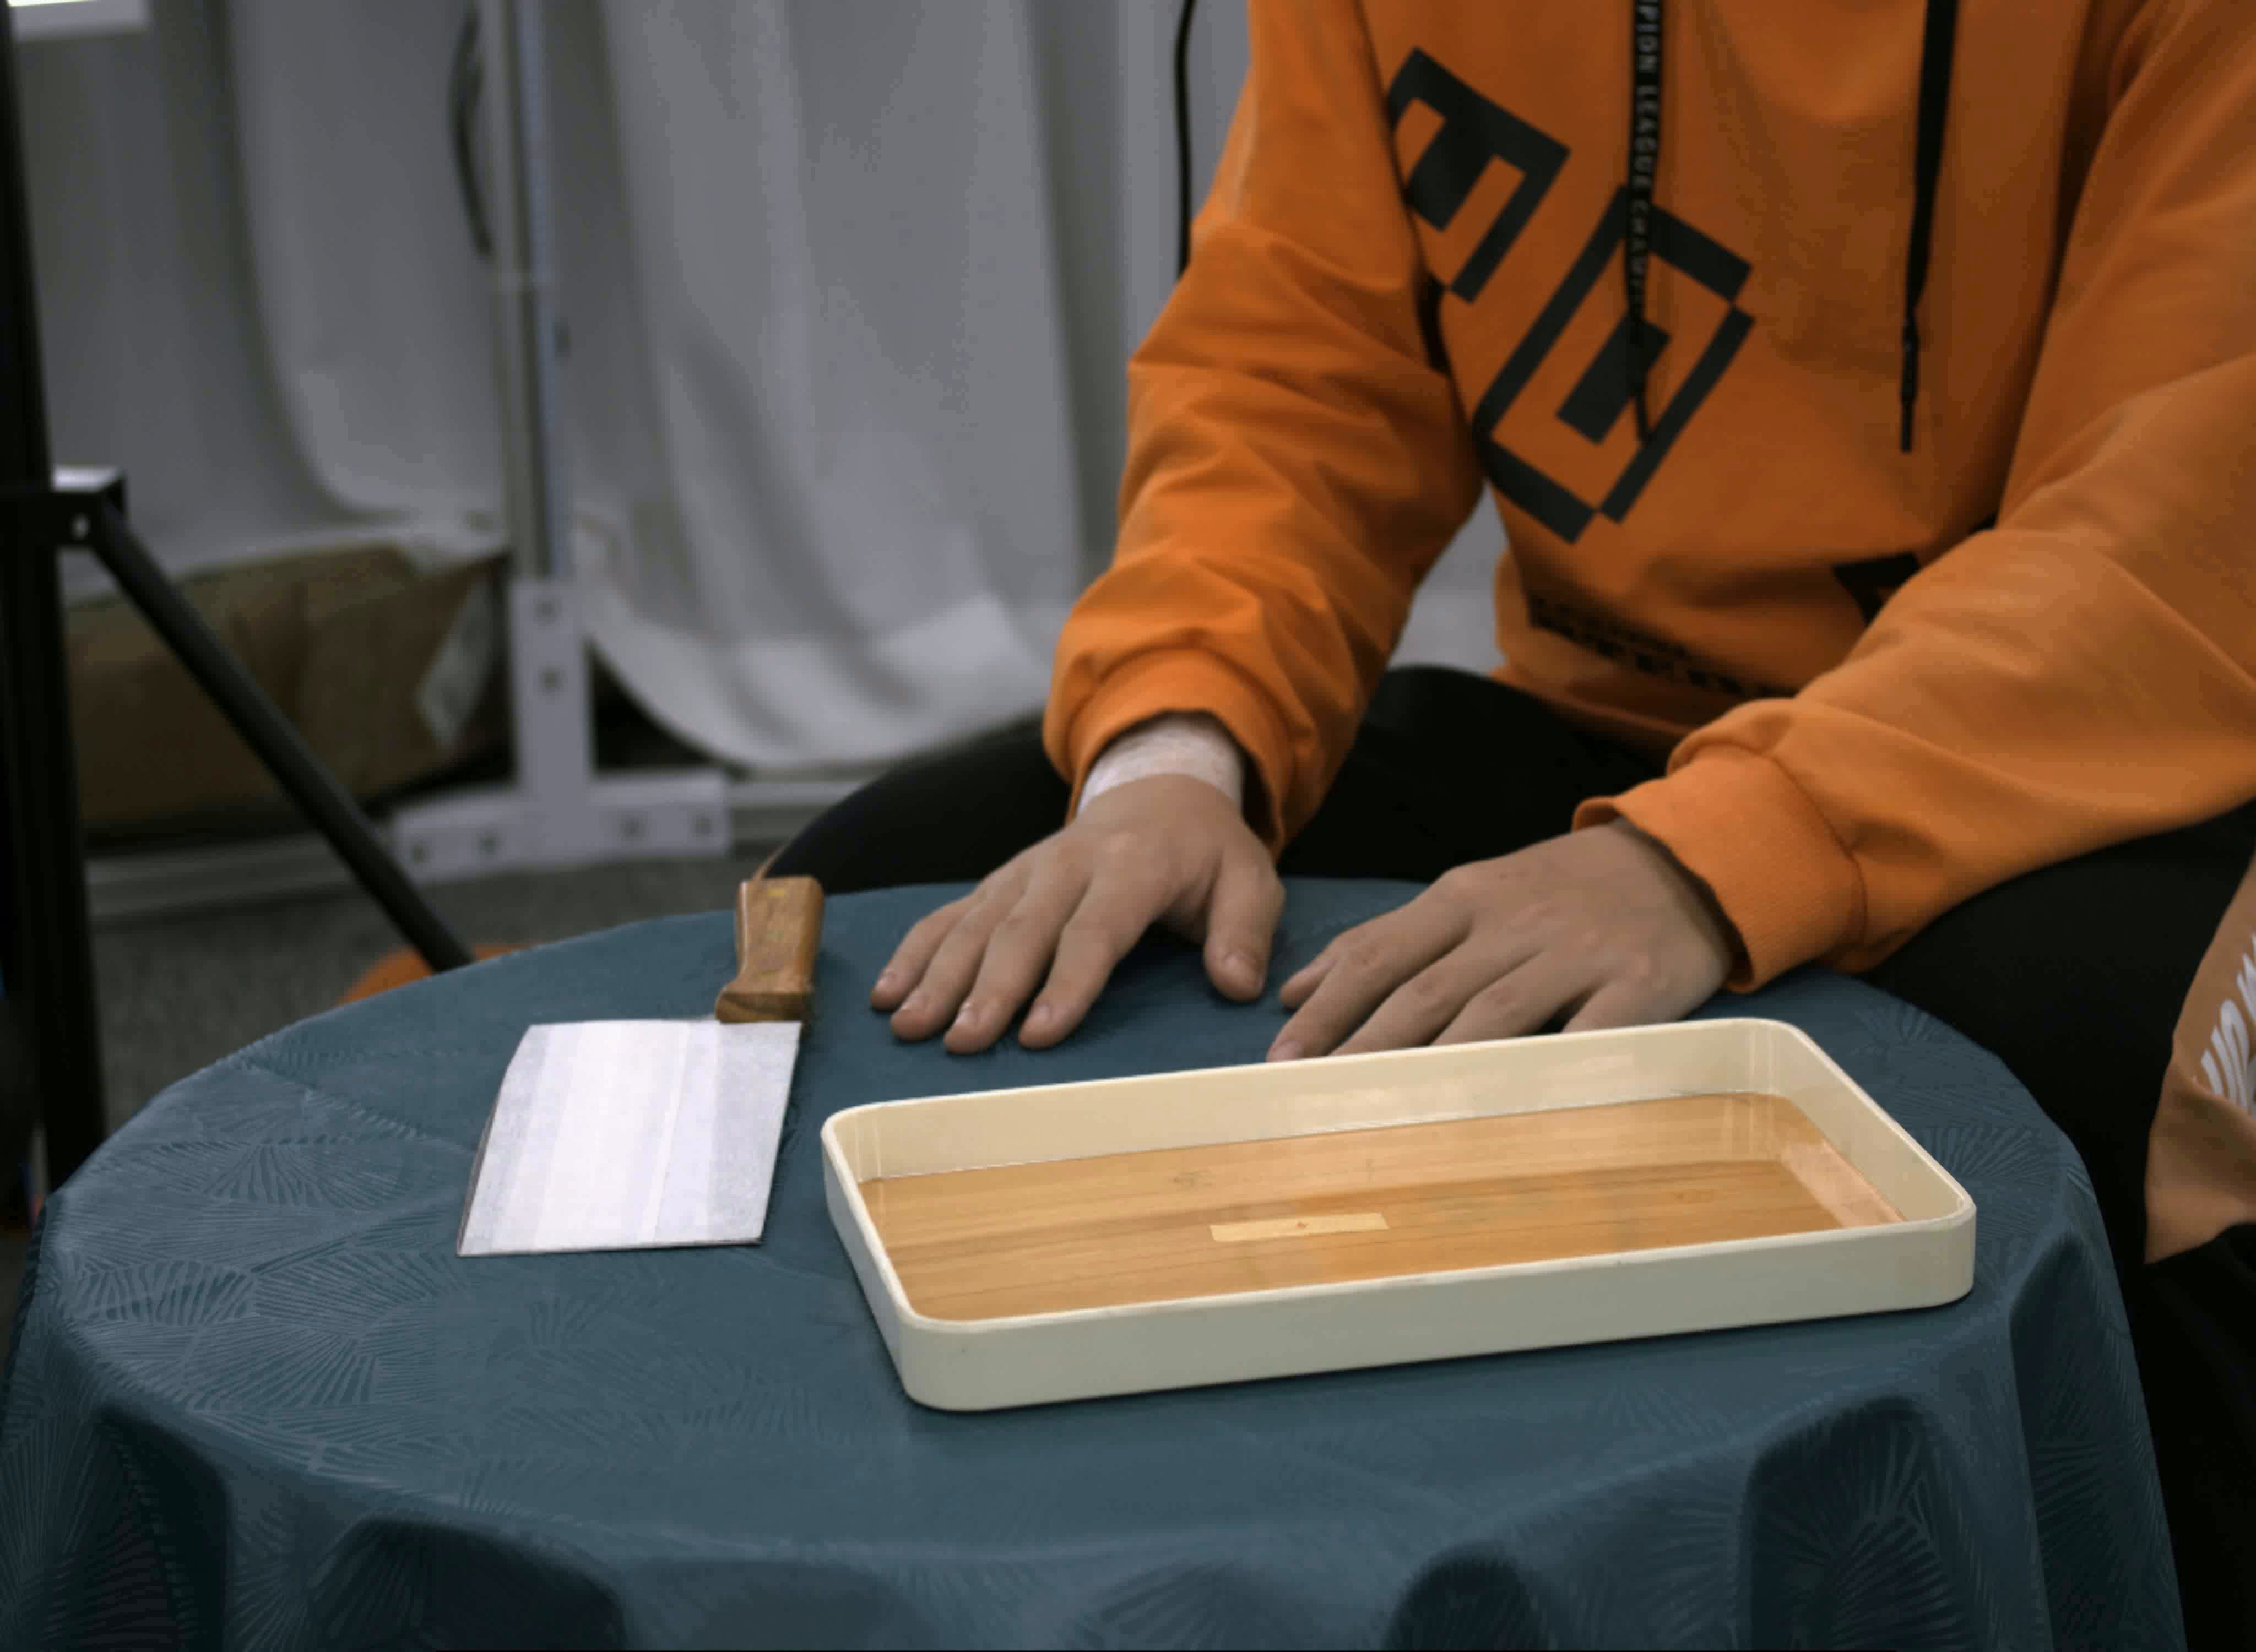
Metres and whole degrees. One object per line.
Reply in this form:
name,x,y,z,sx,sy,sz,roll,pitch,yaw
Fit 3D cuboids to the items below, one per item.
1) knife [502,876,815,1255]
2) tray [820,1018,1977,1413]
knife,-0.147,0.074,1.676,0.092,0.021,0.307,-4,18,2
tray,0.072,0.107,1.497,0.297,0.027,0.194,-5,16,-8
